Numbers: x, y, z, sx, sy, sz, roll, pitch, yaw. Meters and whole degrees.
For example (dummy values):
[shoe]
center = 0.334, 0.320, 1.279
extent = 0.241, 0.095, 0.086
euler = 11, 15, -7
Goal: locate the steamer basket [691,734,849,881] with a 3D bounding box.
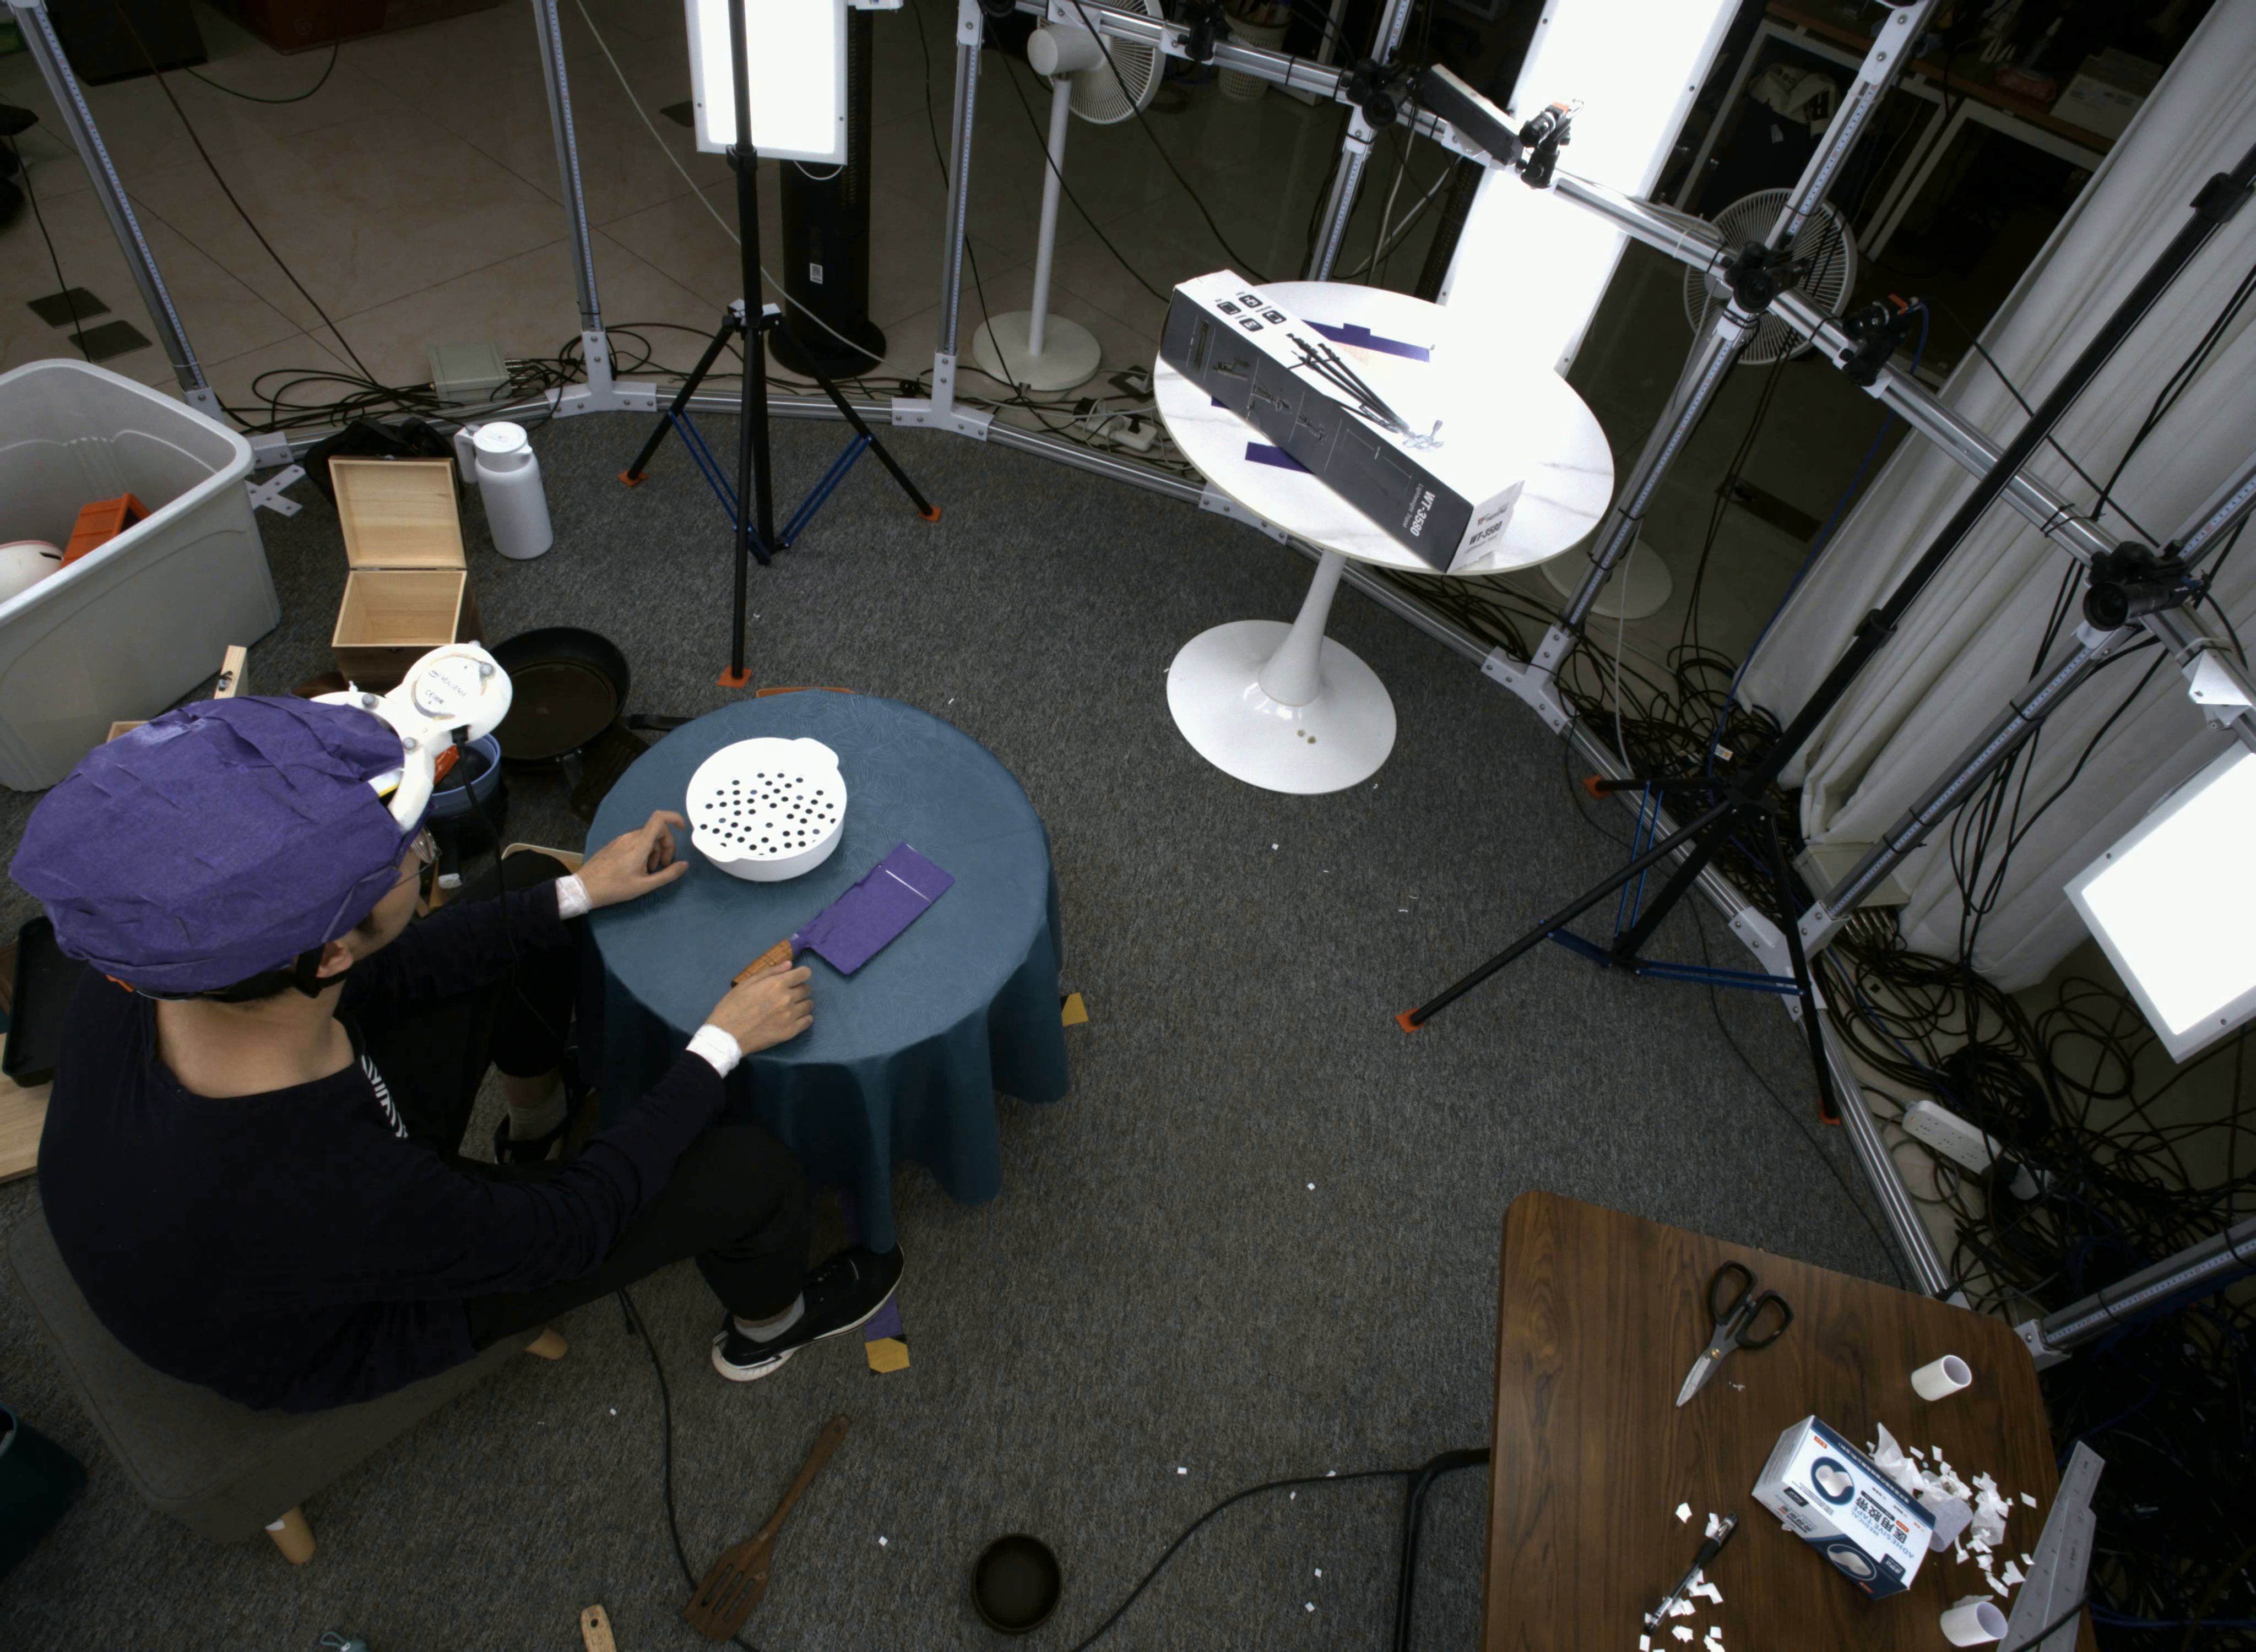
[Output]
[steamer basket]
center = -0.467, -0.023, 1.699
extent = 0.198, 0.071, 0.230
euler = 31, 56, 11

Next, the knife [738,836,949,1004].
[knife]
center = -0.350, 0.126, 1.643
extent = 0.102, 0.033, 0.315
euler = 34, 53, 12
